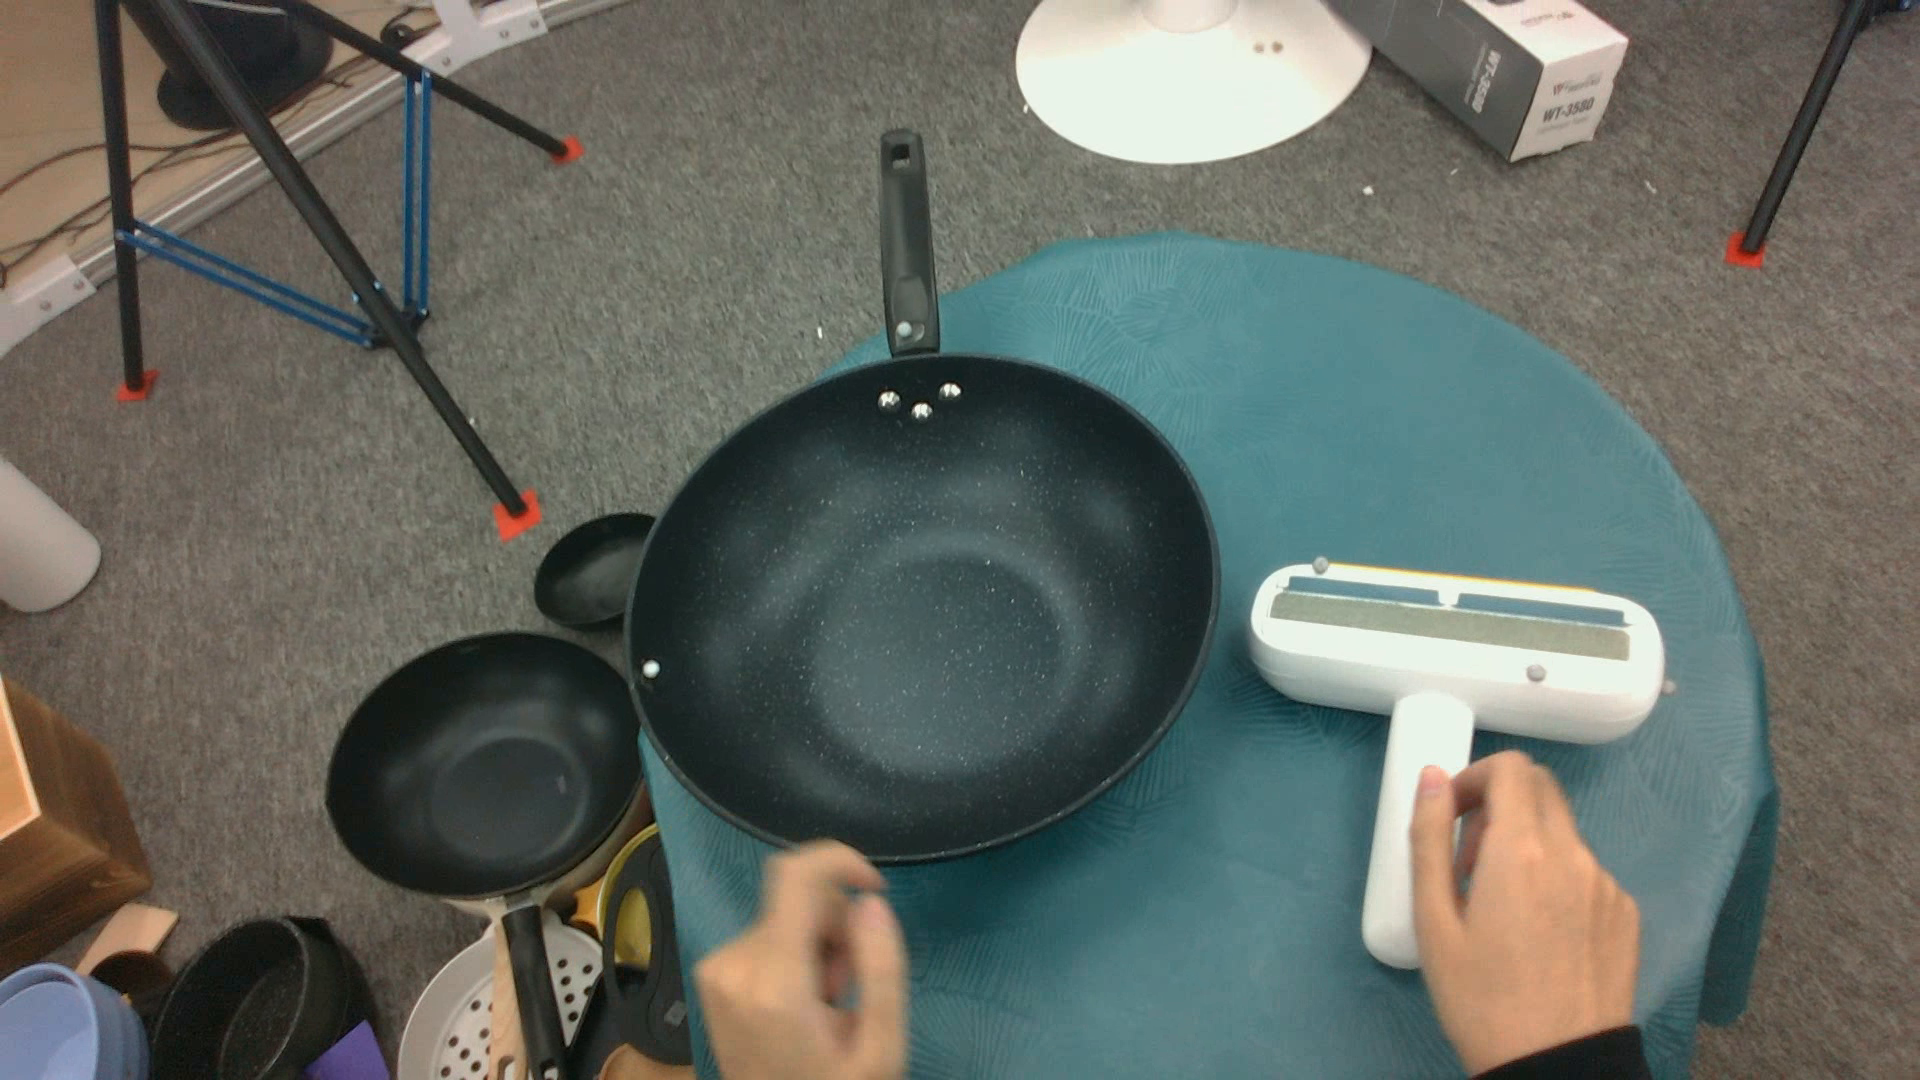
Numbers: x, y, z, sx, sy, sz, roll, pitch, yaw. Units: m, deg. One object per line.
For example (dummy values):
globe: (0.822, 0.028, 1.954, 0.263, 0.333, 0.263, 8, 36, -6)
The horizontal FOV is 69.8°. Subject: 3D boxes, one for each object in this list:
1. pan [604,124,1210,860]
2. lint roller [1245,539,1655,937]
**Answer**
pan: (-0.032, -0.038, 0.773, 0.310, 0.111, 0.479, -6, 55, 2)
lint roller: (0.220, 0.094, 0.666, 0.192, 0.074, 0.193, 12, 59, 22)
